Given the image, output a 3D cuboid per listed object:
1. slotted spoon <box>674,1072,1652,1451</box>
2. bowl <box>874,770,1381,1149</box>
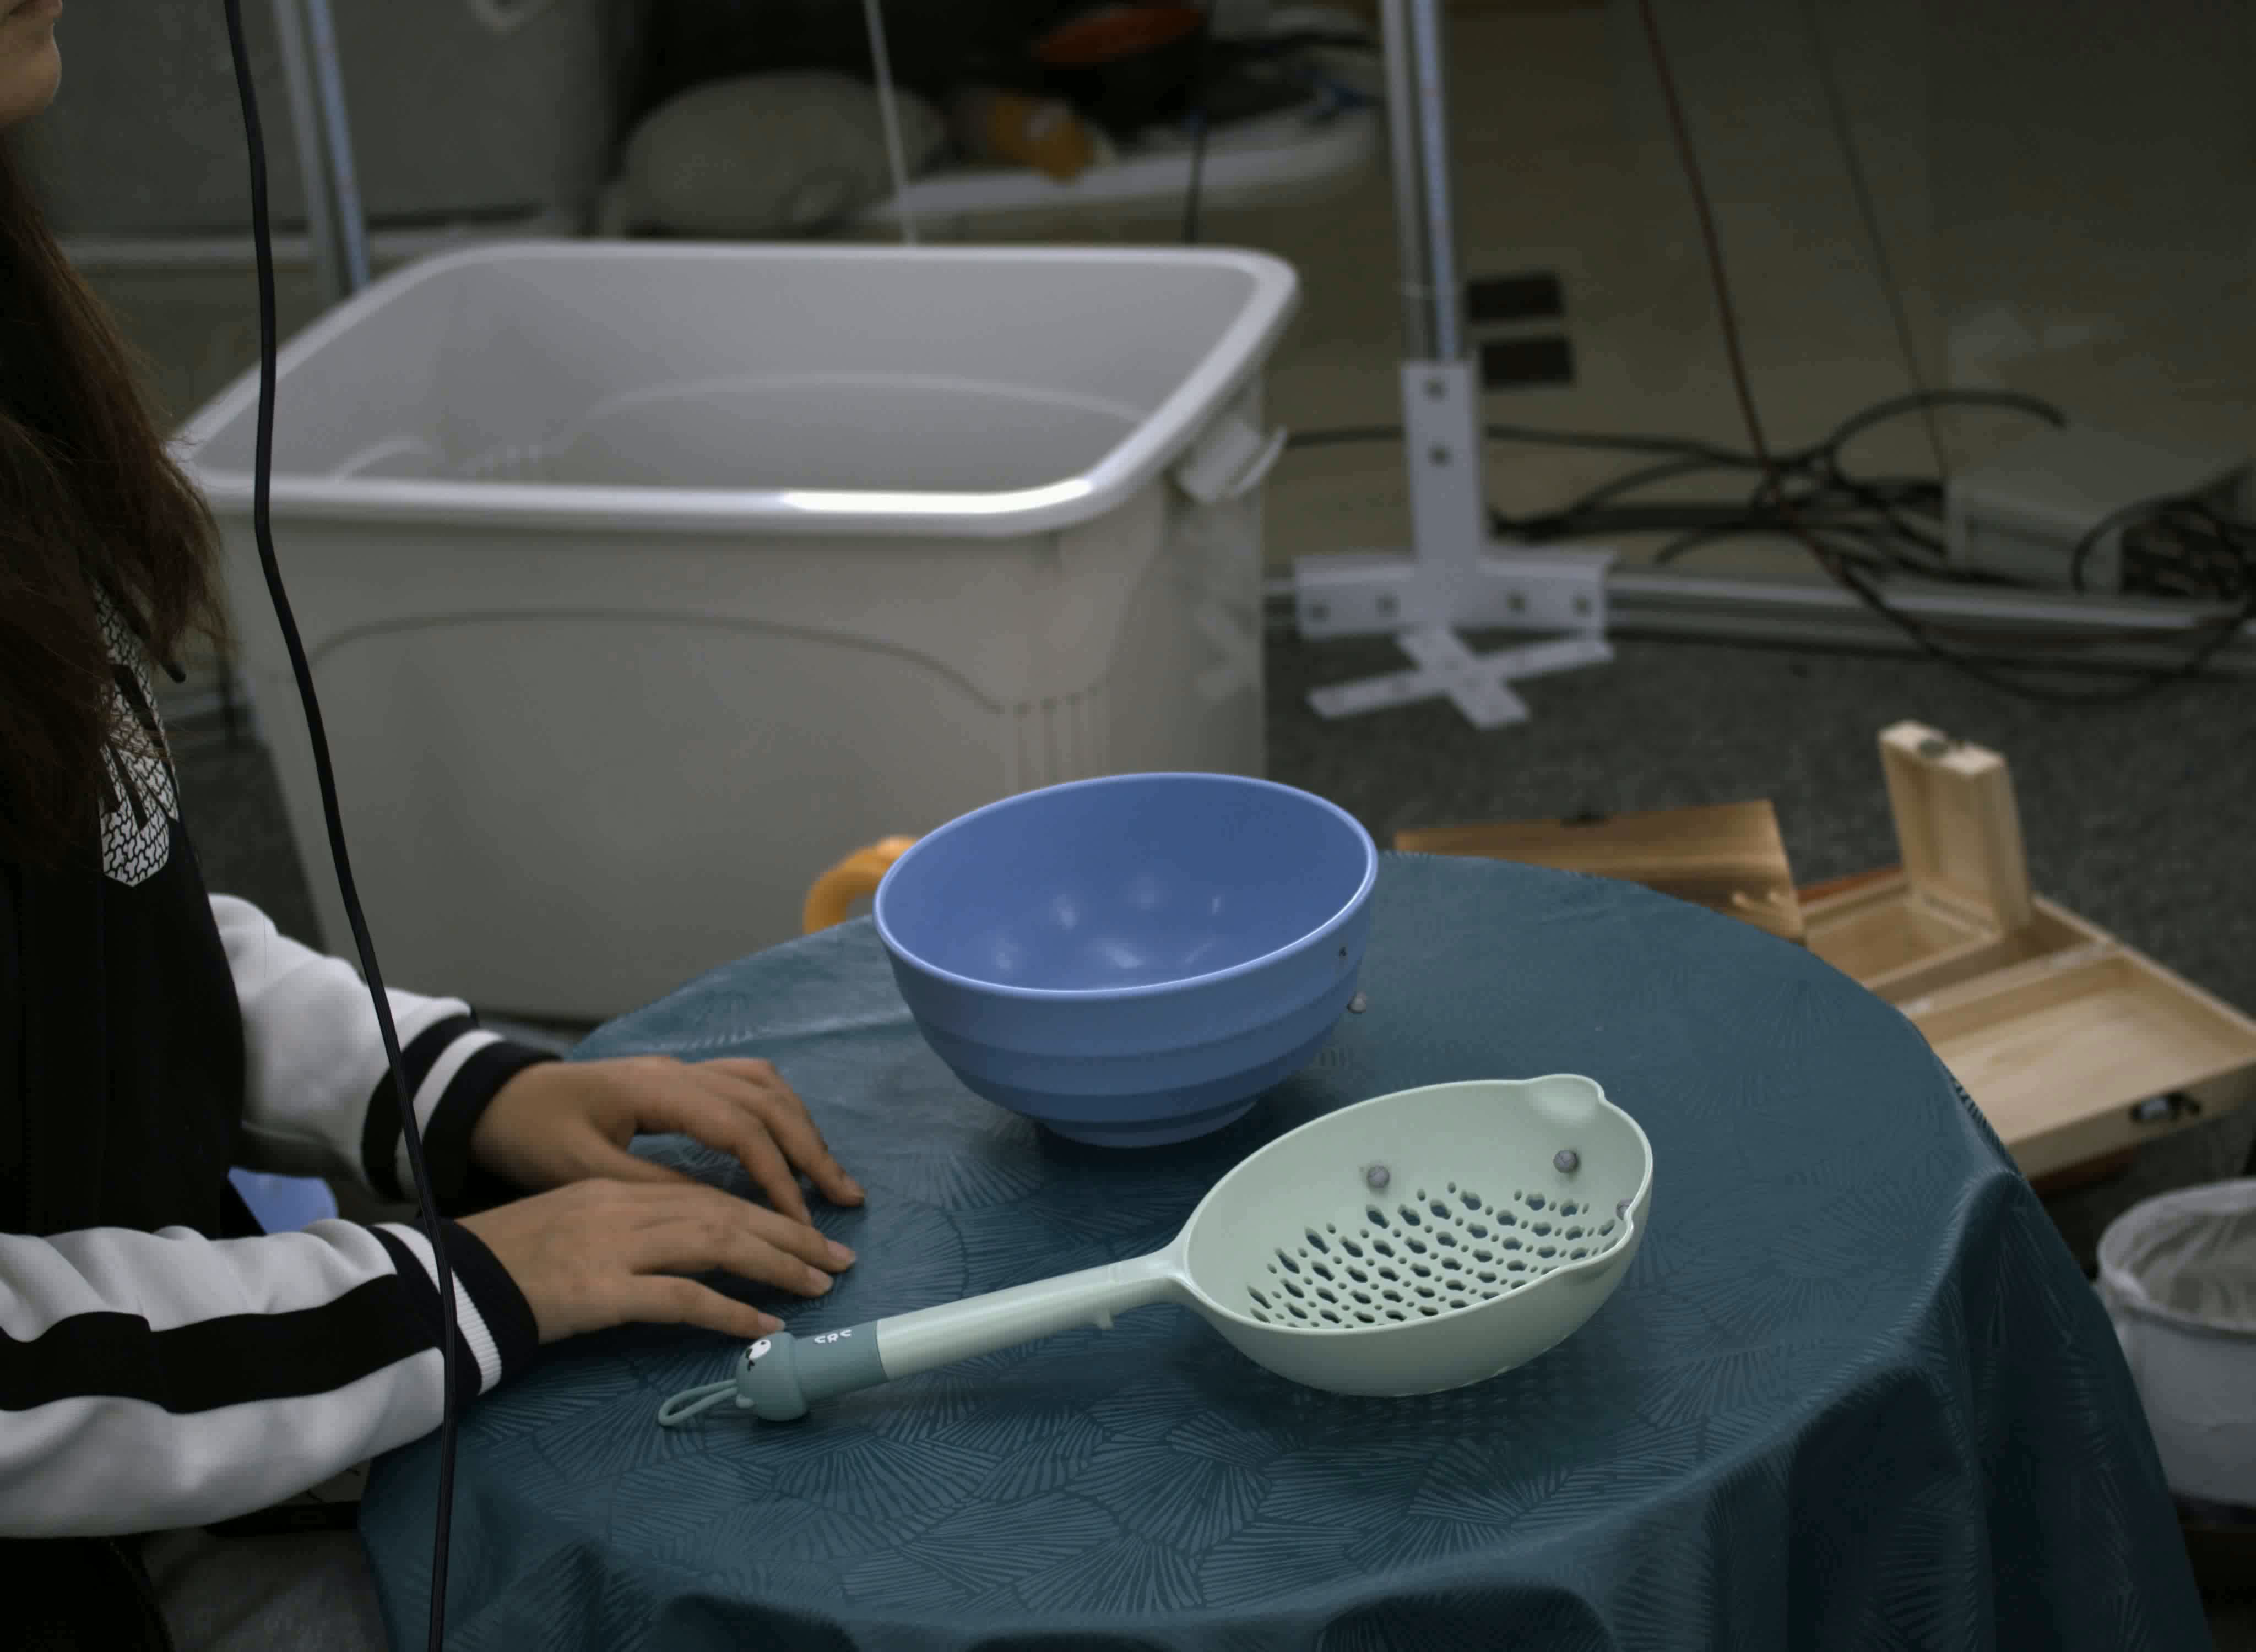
[{"bbox_3d":[0.010,0.168,2.013,0.358,0.076,0.167,-7,24,2],"label":"slotted spoon"},{"bbox_3d":[0.004,0.063,2.198,0.196,0.097,0.193,-5,26,3],"label":"bowl"}]
